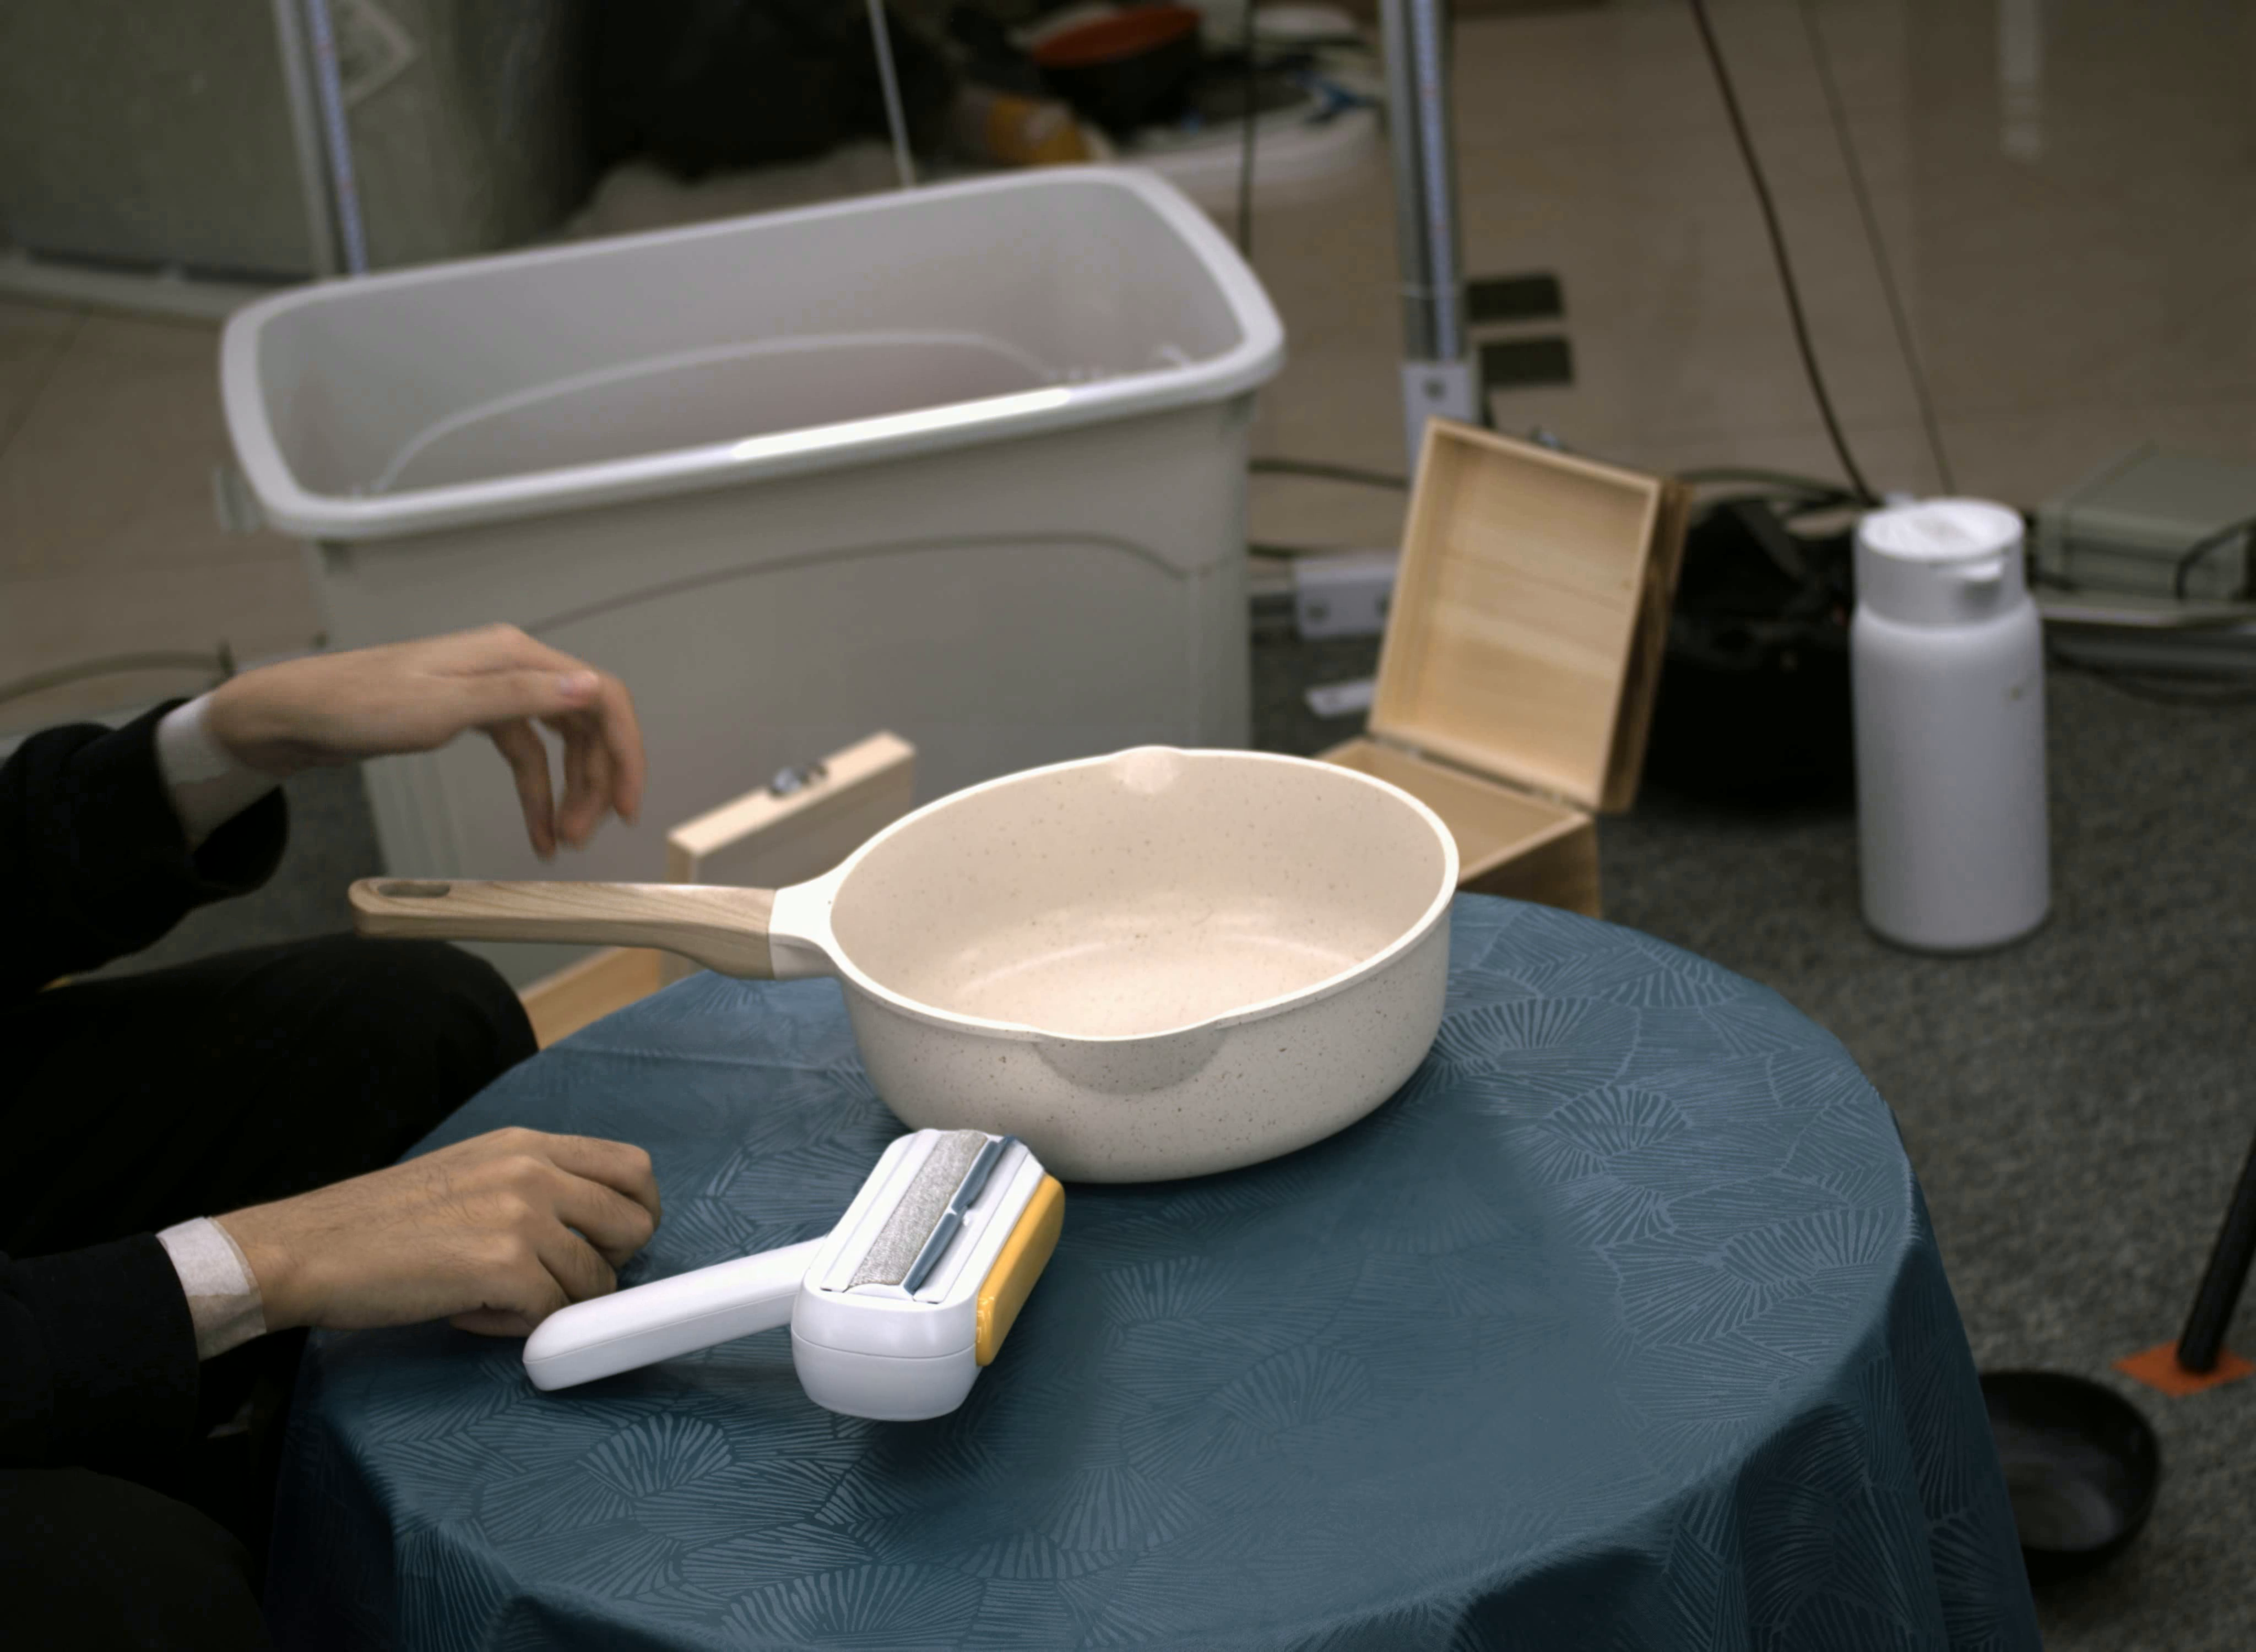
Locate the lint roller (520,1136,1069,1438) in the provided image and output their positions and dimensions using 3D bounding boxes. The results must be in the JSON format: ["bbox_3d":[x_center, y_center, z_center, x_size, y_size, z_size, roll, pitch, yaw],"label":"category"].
[{"bbox_3d":[-0.129,0.168,2.031,0.192,0.075,0.190,-1,20,14],"label":"lint roller"}]

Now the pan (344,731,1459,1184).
[{"bbox_3d":[-0.085,0.057,2.222,0.434,0.104,0.259,-5,28,4],"label":"pan"}]
